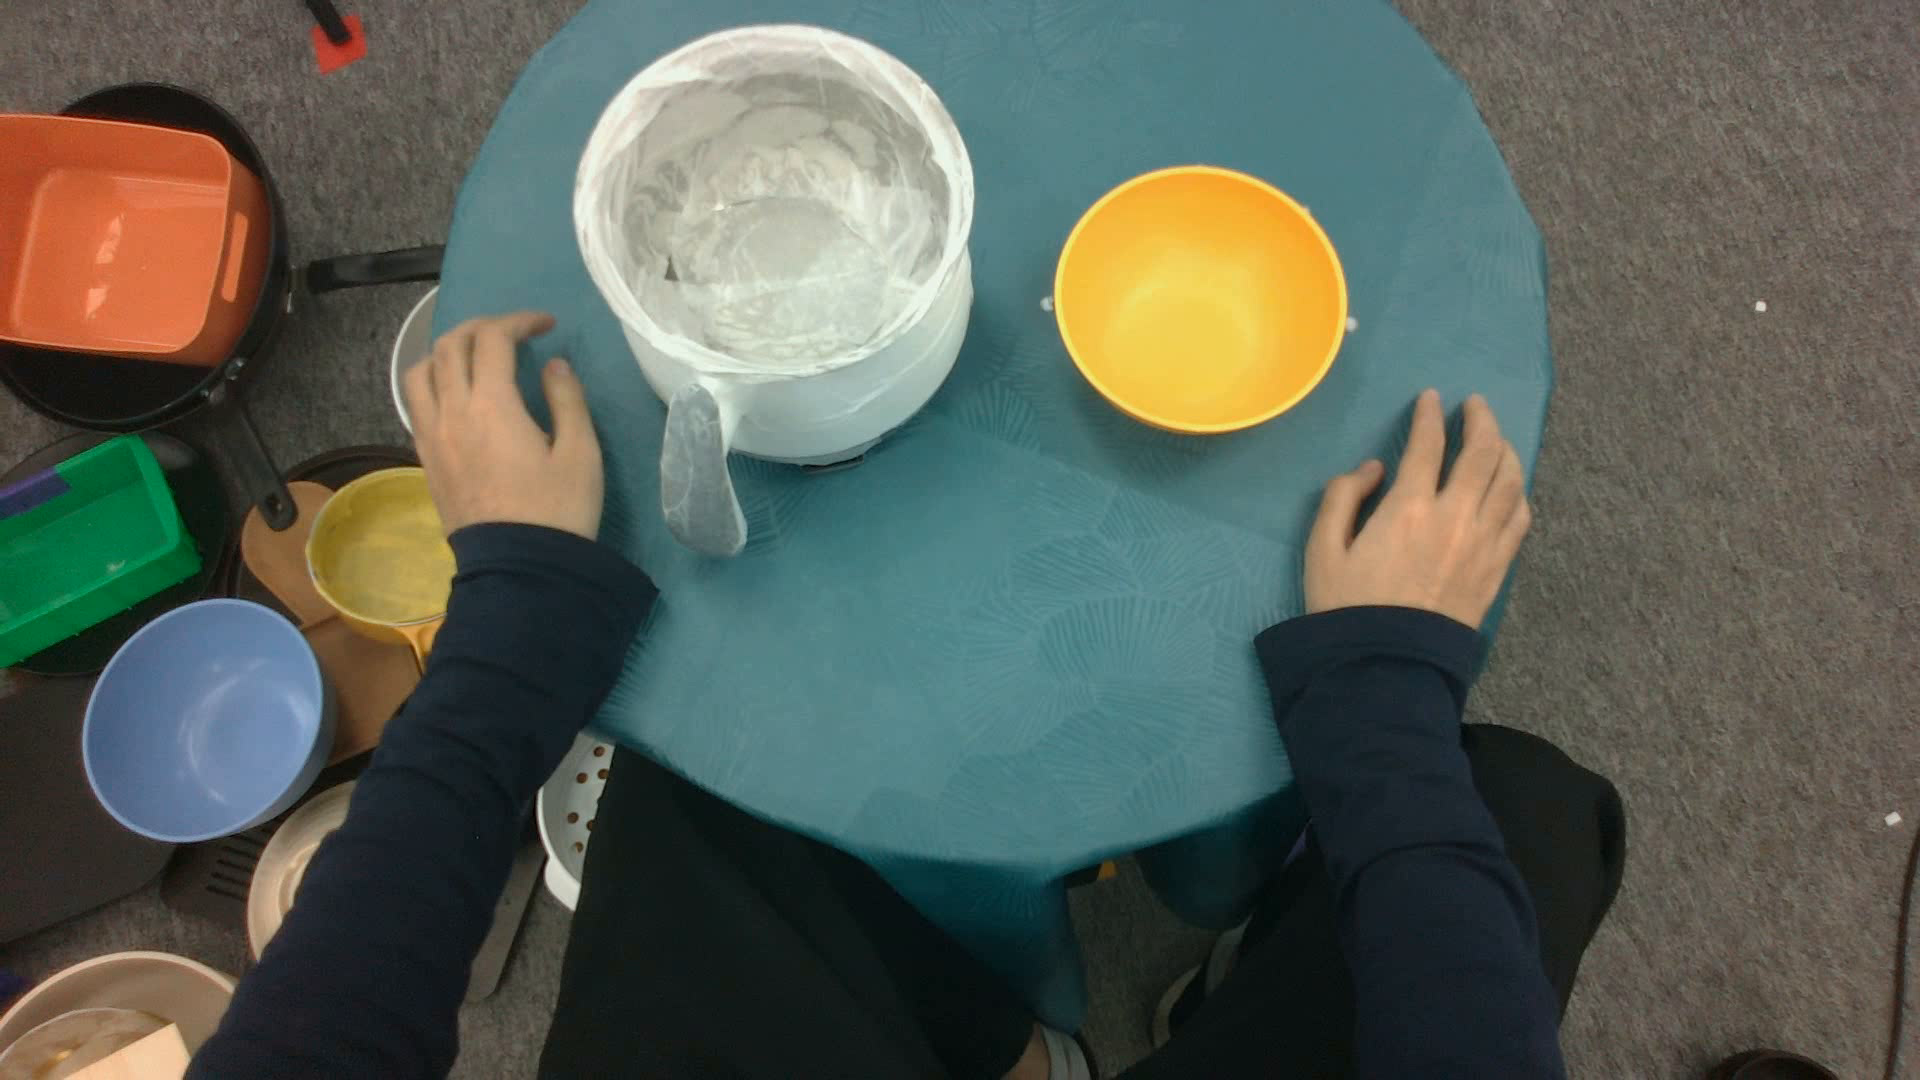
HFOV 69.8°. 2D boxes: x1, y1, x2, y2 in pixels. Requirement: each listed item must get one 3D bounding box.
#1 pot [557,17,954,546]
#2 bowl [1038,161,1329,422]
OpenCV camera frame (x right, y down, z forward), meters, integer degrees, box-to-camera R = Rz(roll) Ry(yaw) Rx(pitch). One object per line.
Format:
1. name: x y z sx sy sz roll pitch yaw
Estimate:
1. pot: -0.100 -0.115 0.669 0.178 0.136 0.234 16 75 3
2. bowl: 0.111 -0.118 0.712 0.145 0.060 0.145 0 72 0
